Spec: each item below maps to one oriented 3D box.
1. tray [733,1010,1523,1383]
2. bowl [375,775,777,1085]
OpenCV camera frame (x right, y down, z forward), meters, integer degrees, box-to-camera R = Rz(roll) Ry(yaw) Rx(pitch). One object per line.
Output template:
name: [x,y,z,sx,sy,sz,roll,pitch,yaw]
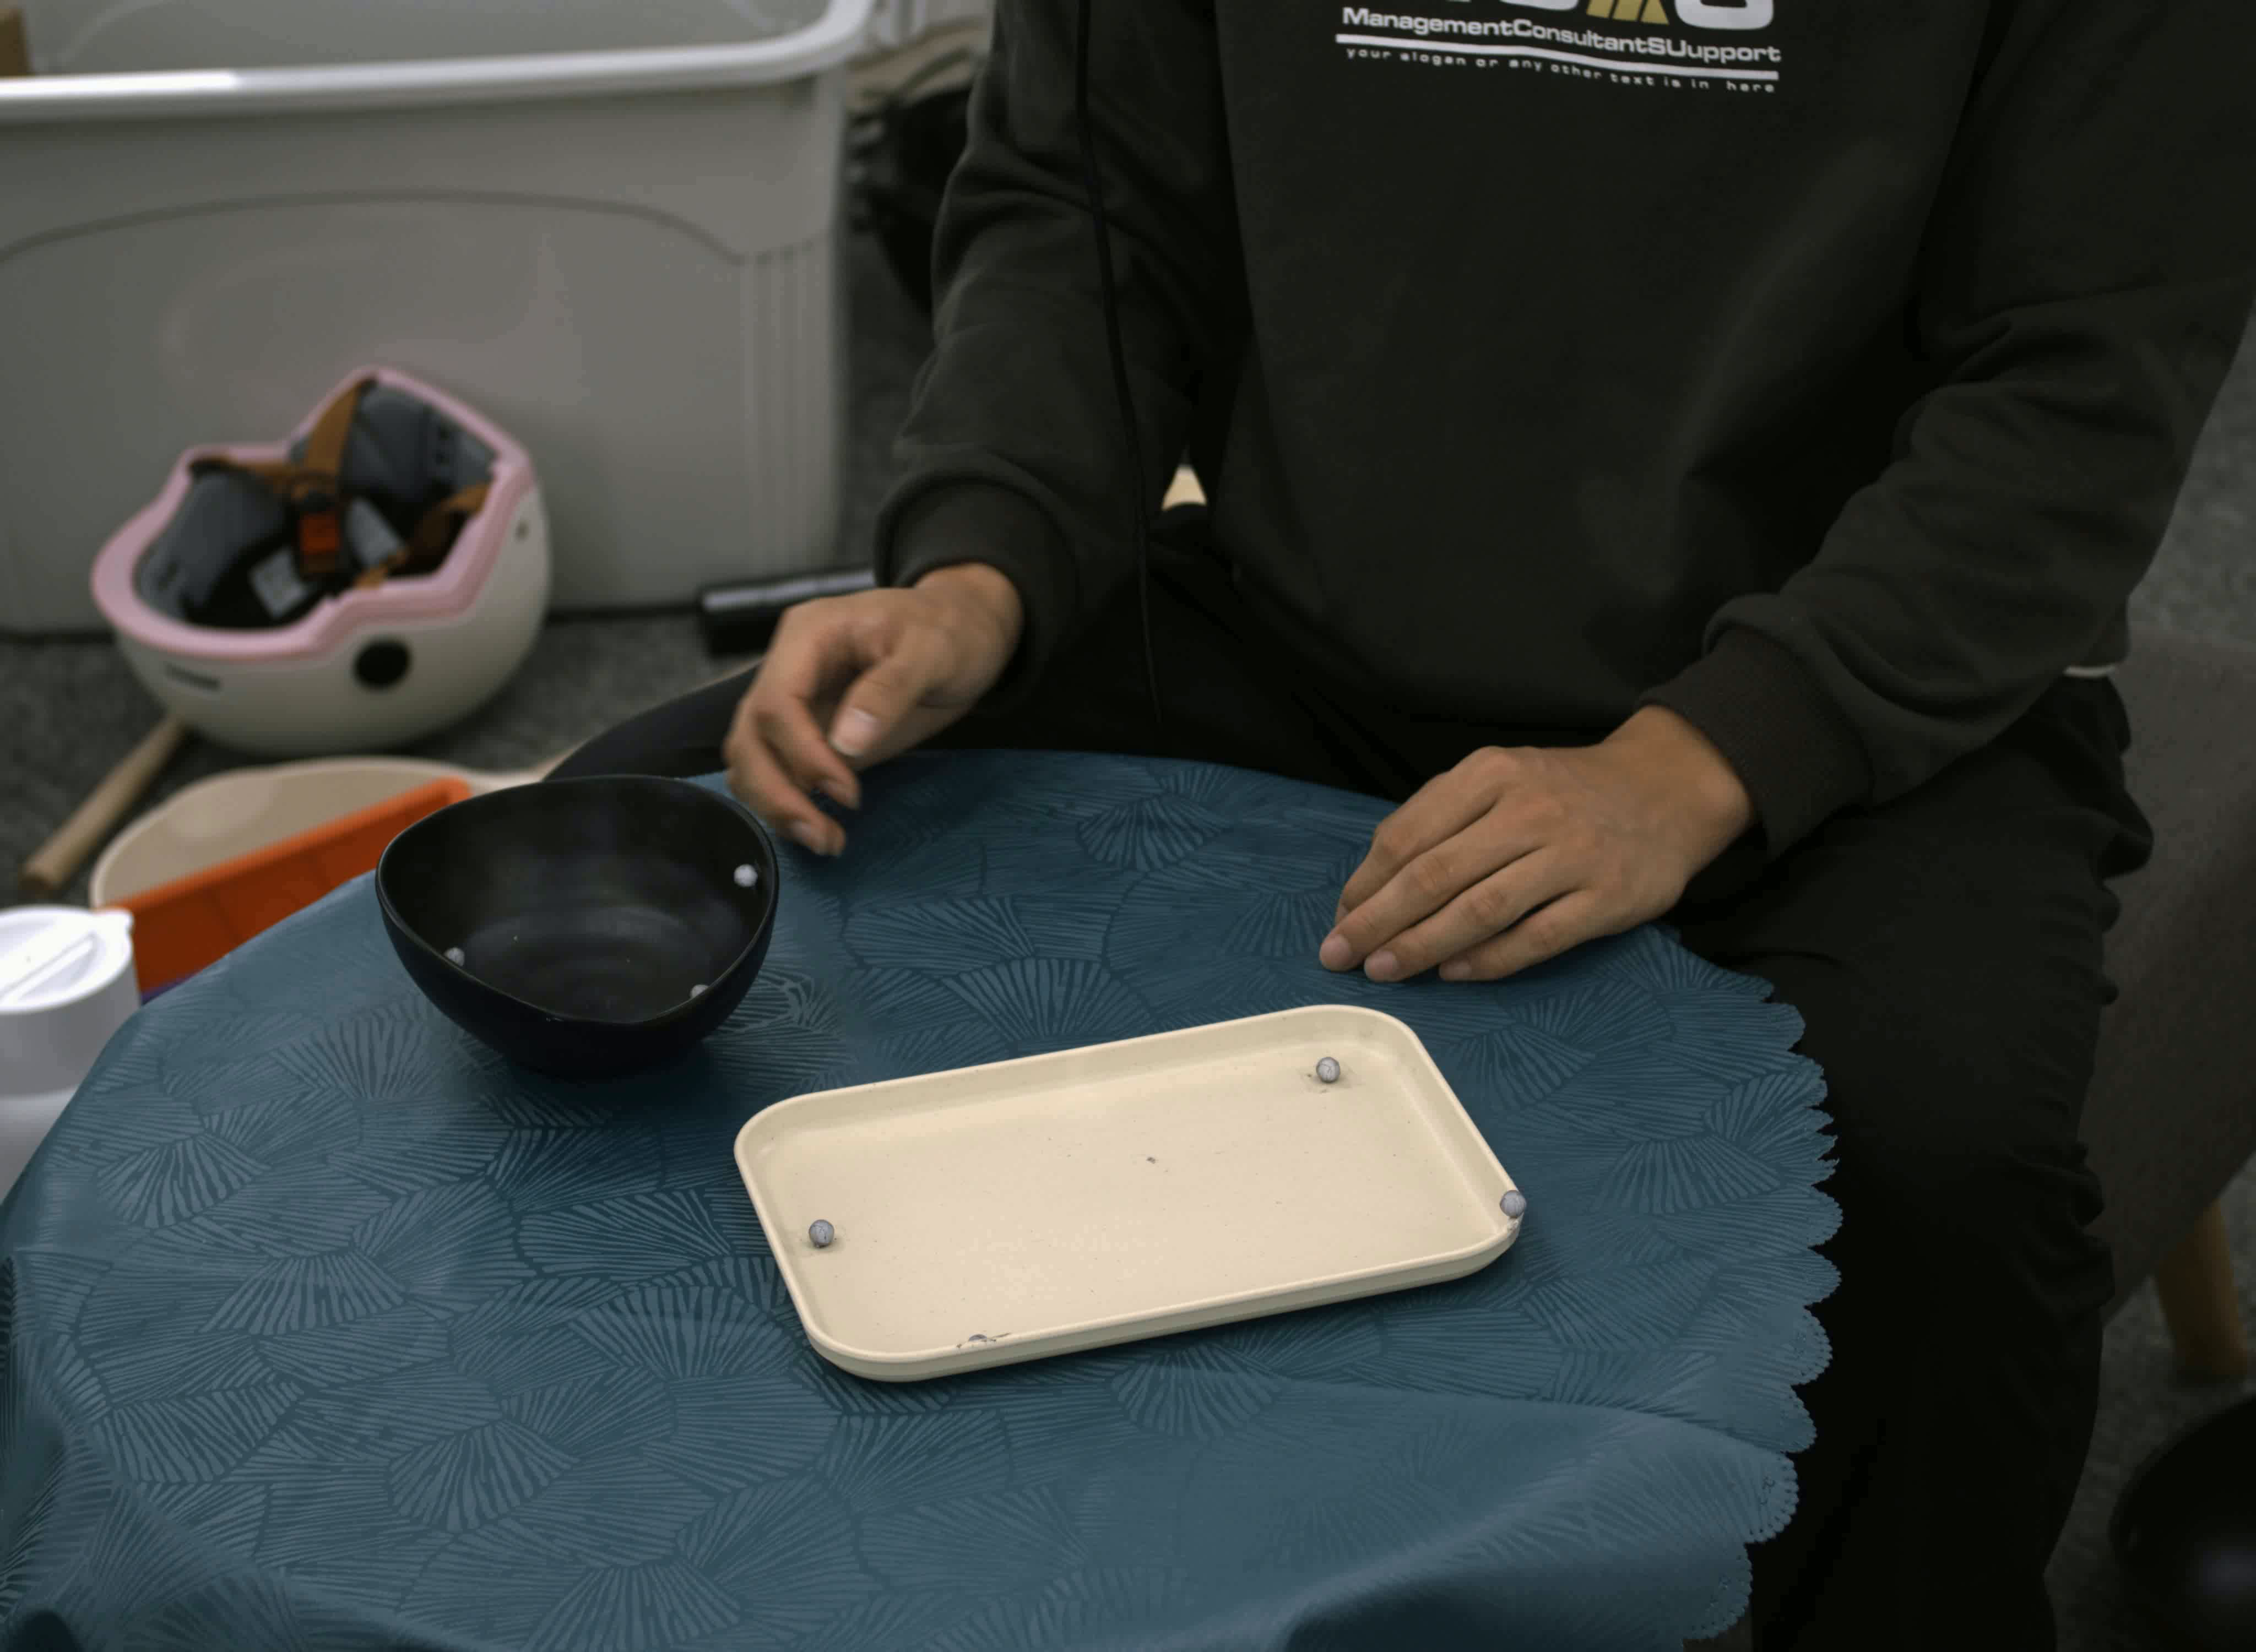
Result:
tray: [-0.002,0.122,1.847,0.240,0.017,0.173,-9,27,-13]
bowl: [-0.189,0.045,1.963,0.138,0.066,0.171,-14,31,-19]
